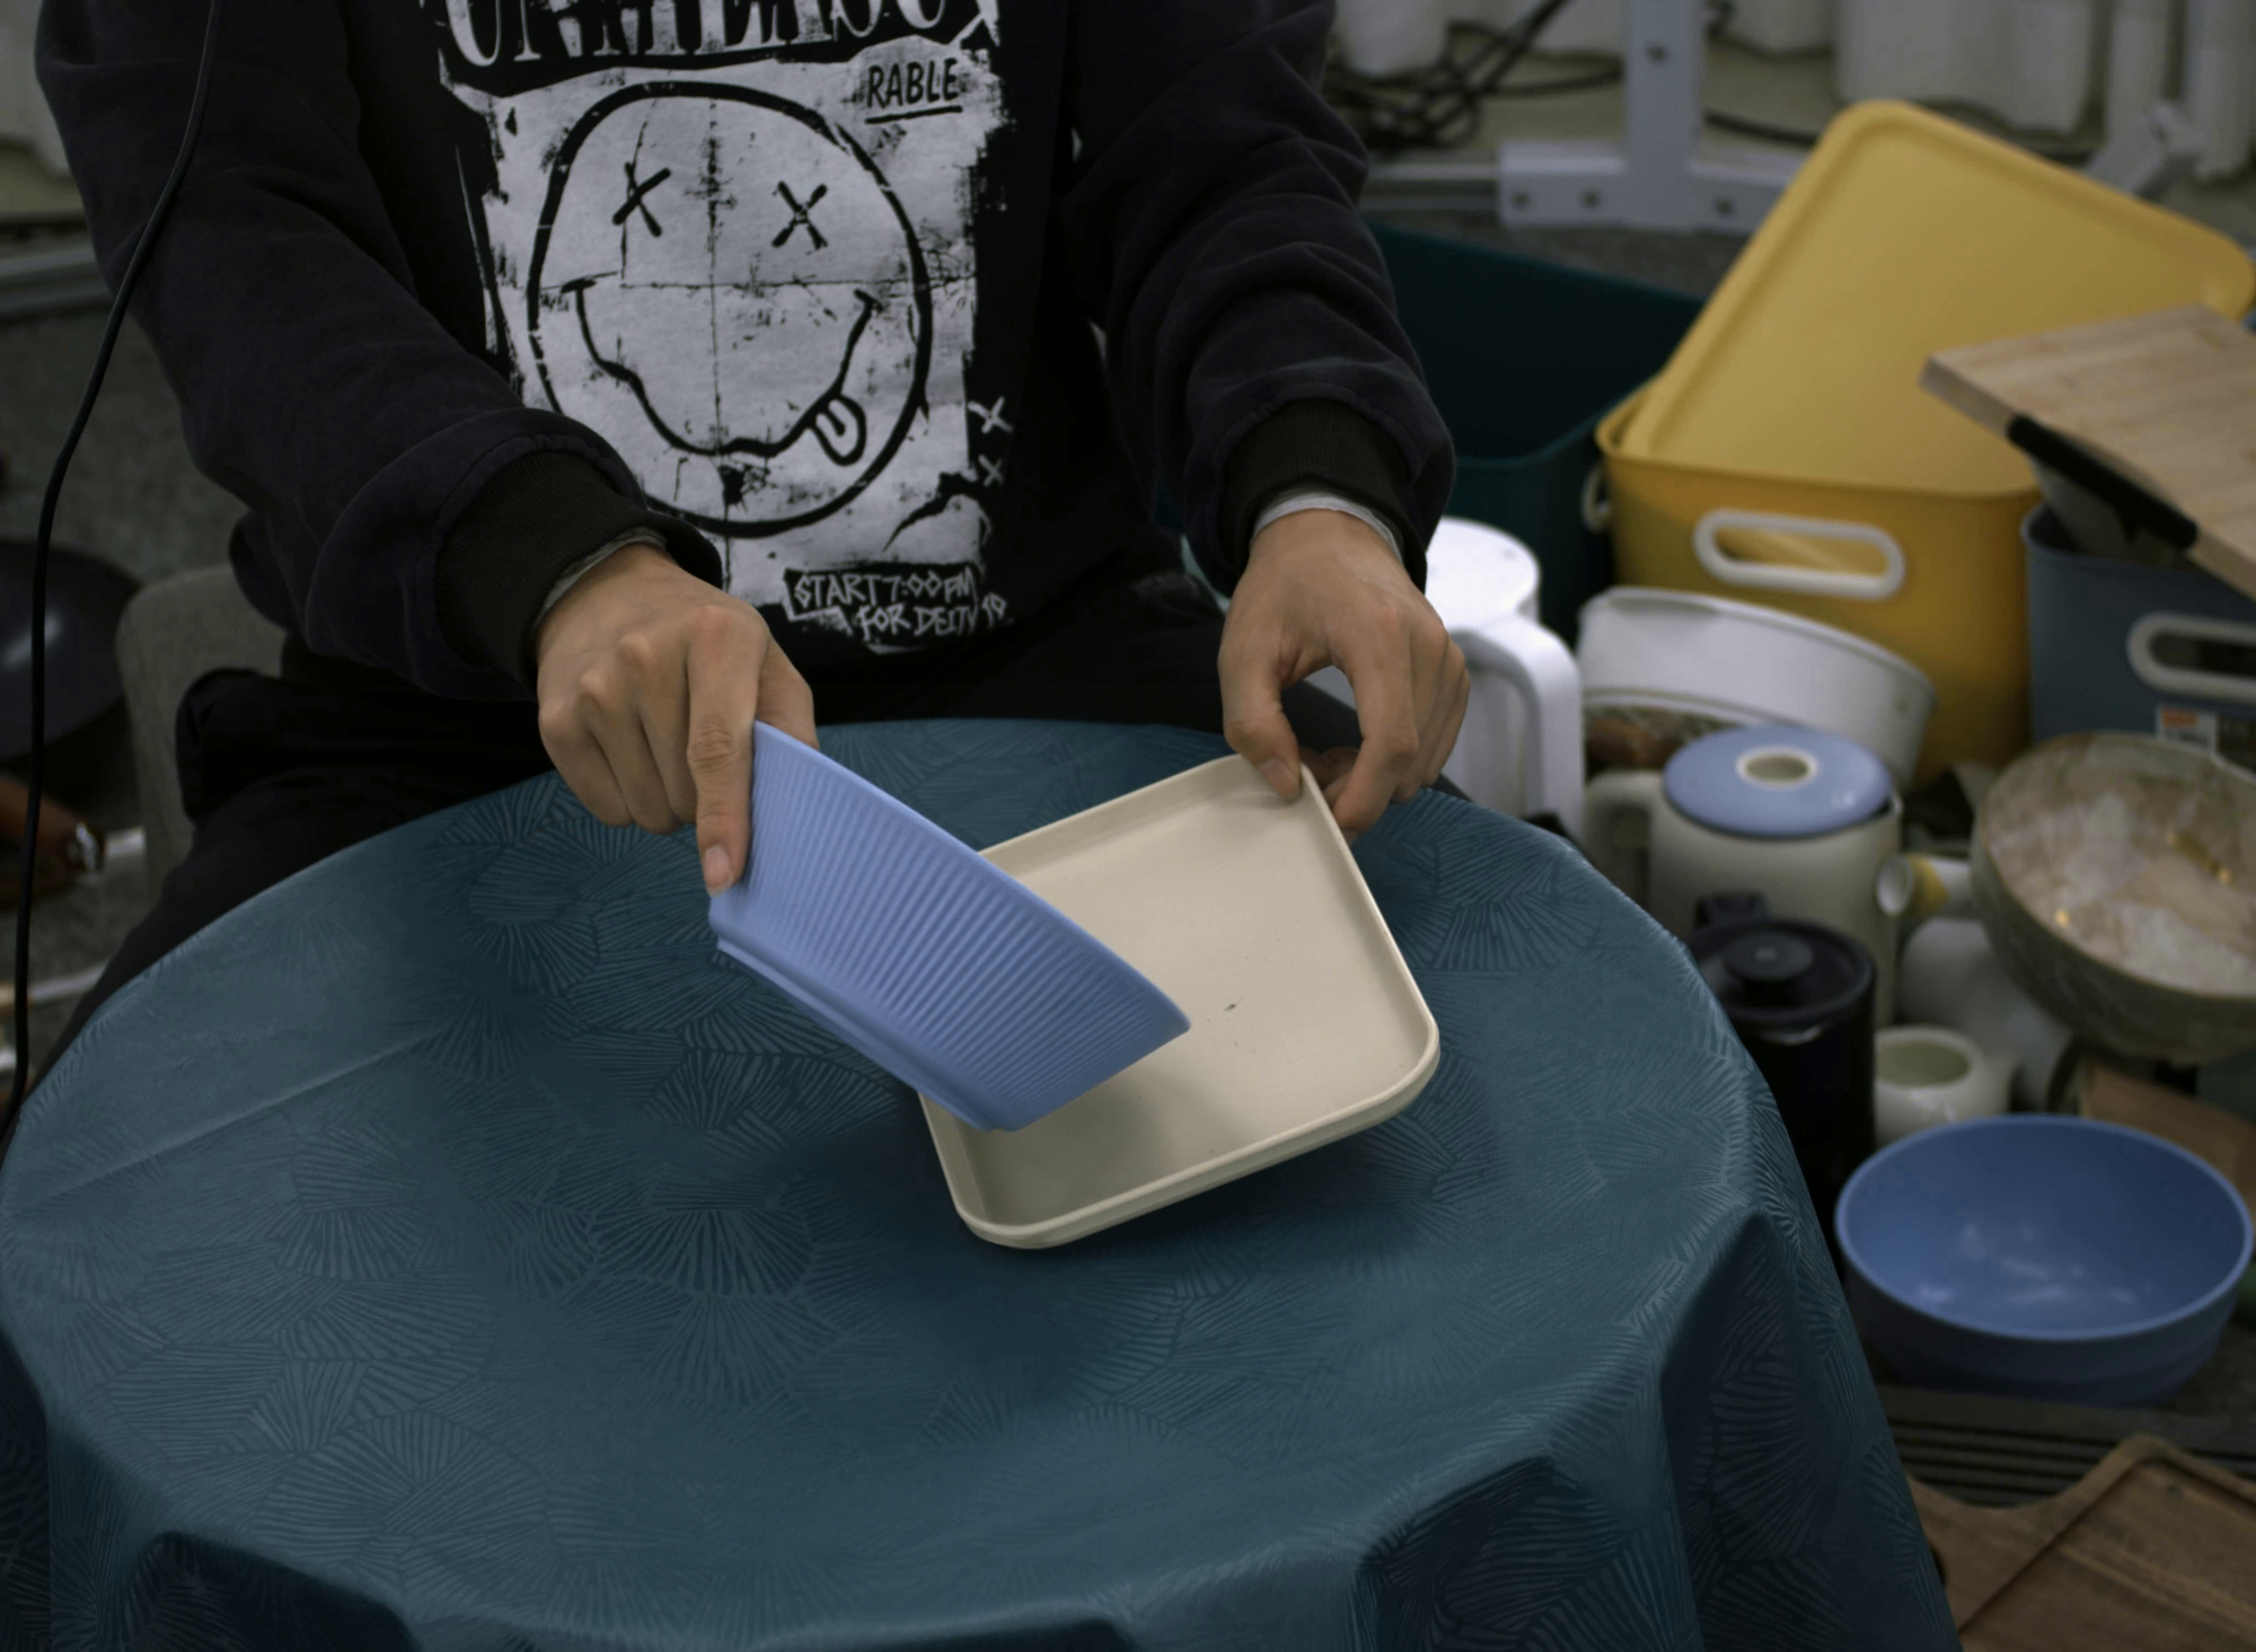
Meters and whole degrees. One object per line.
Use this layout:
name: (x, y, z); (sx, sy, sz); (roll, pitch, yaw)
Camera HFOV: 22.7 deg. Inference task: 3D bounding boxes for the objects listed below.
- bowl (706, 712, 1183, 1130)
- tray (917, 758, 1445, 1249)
bowl: (-0.071, 0.040, 1.821); (0.176, 0.175, 0.071); (29, 80, 45)
tray: (0.007, 0.059, 1.921); (0.171, 0.017, 0.242); (-20, 30, -2)
